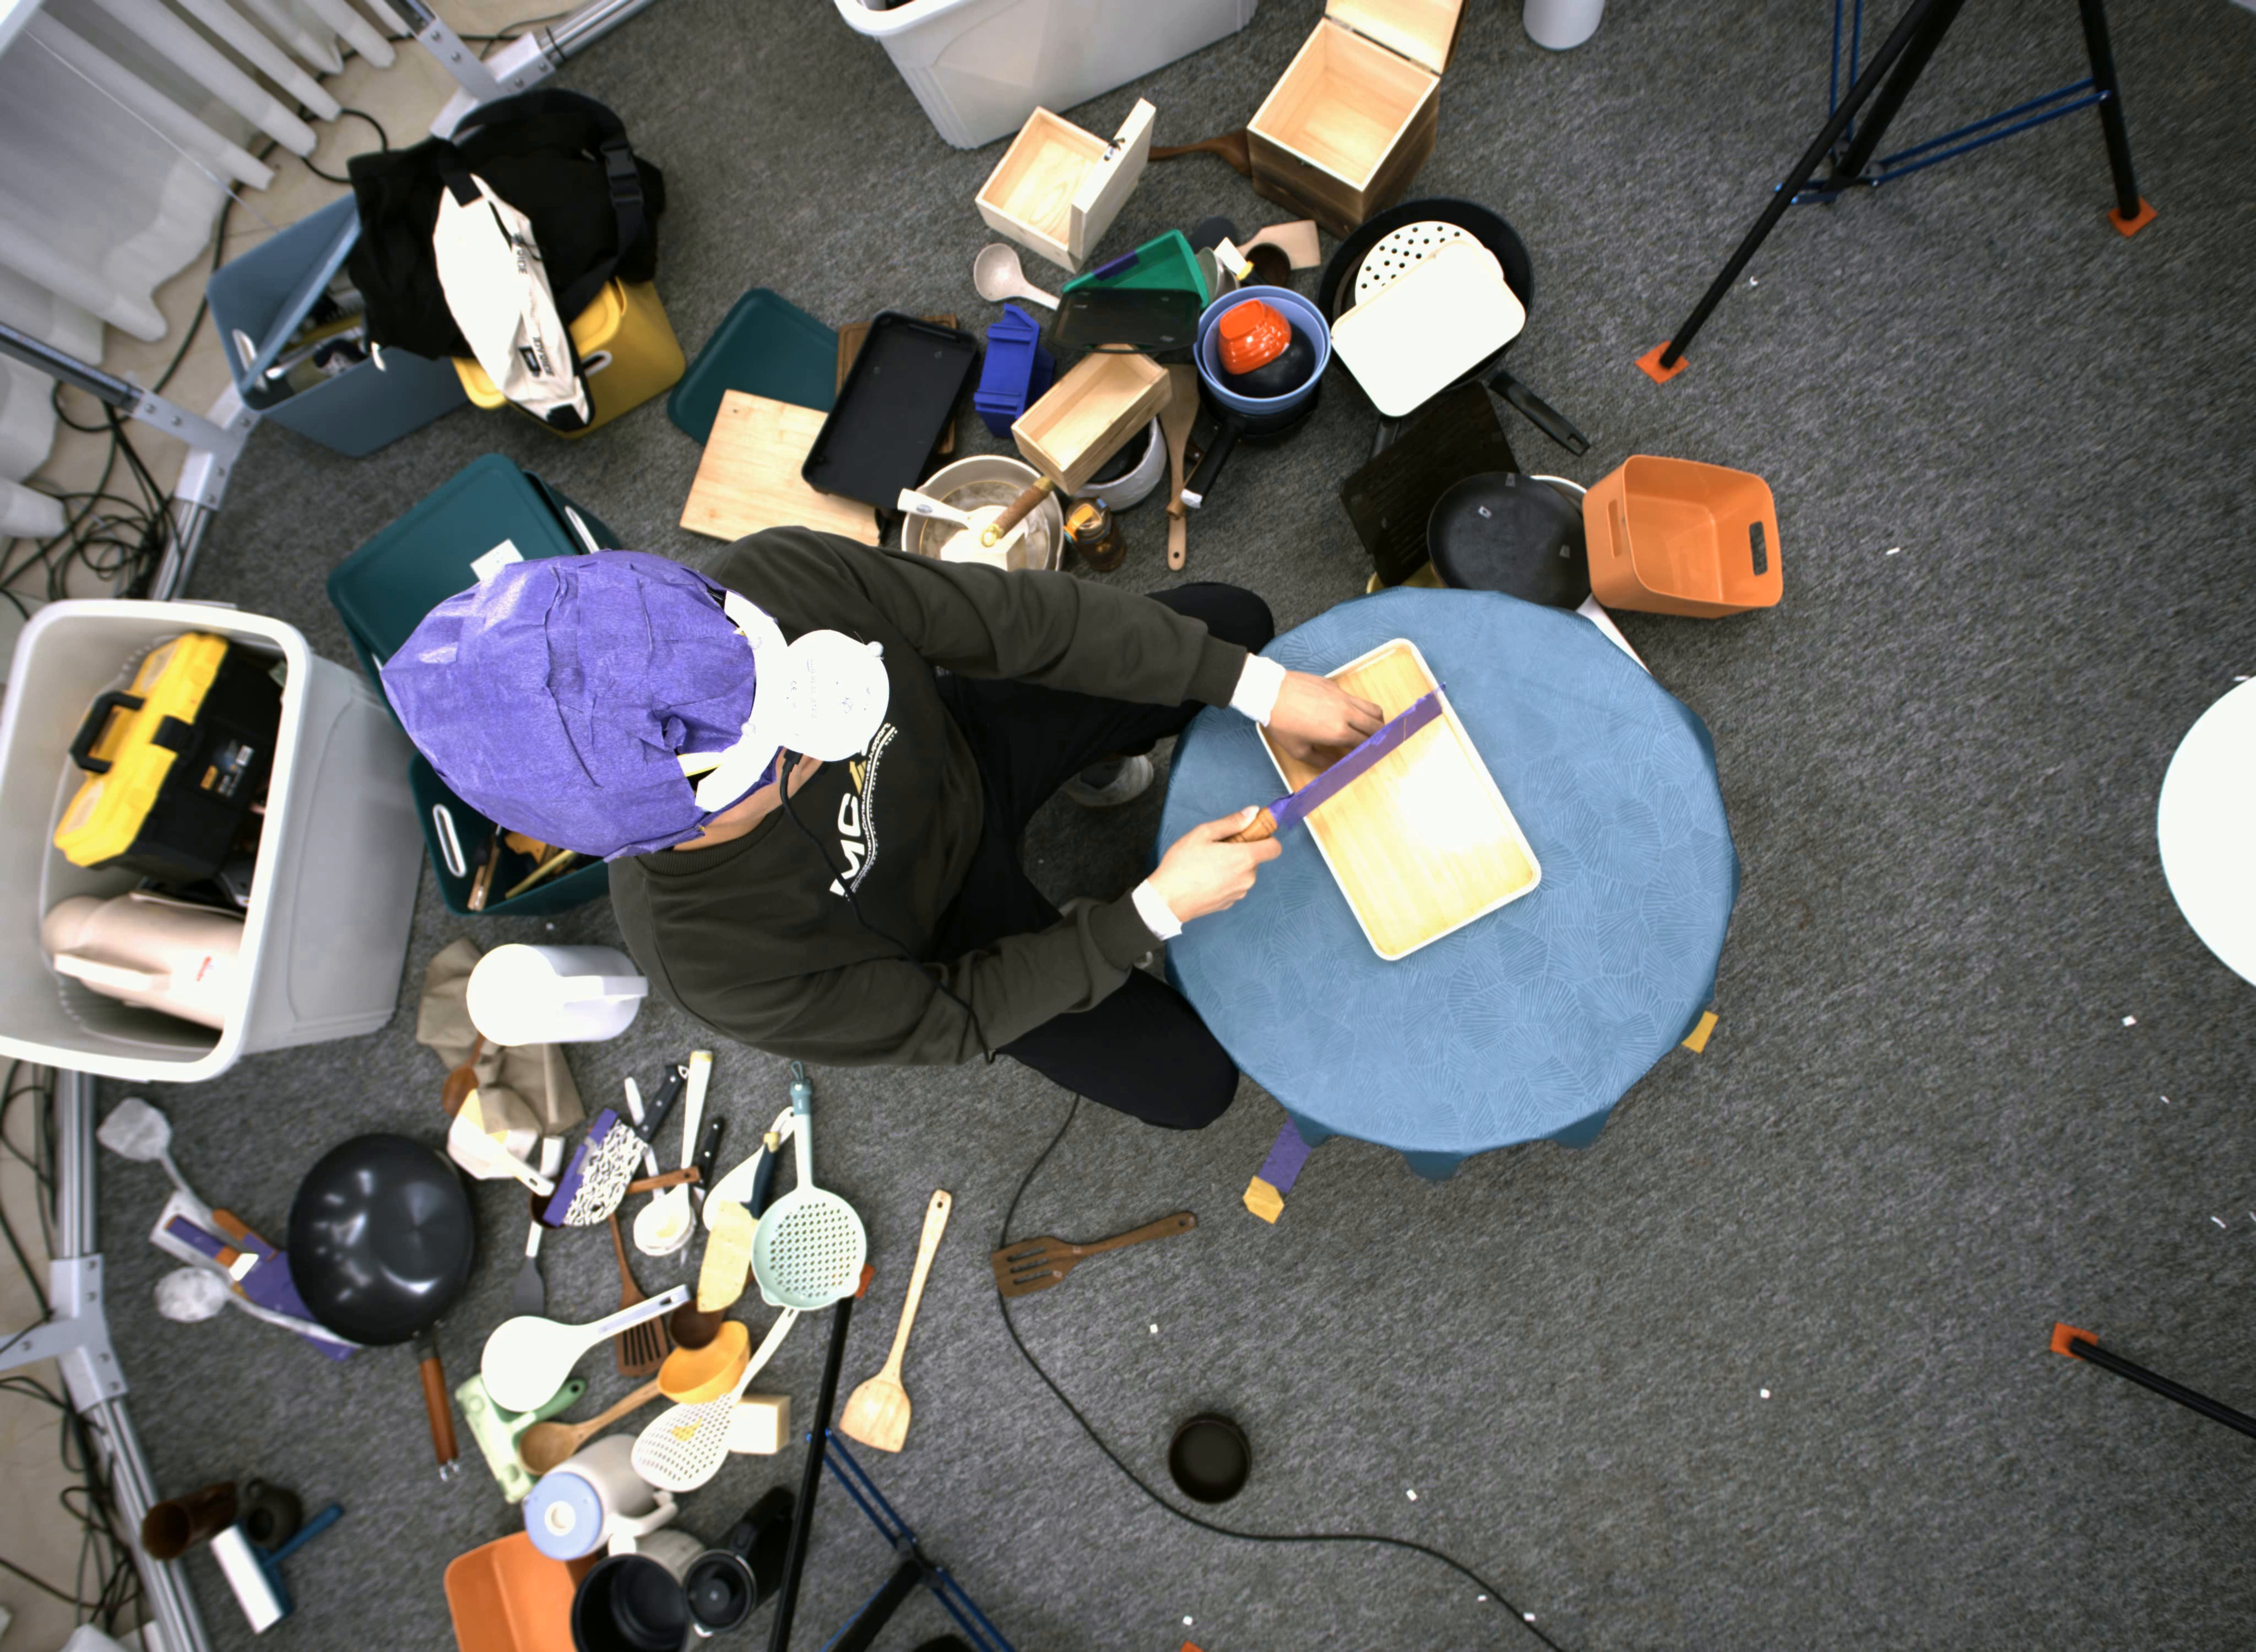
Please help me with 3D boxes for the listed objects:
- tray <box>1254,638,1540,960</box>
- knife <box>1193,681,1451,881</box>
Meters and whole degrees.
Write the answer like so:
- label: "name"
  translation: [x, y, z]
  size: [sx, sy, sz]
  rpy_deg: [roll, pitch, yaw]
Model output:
- label: "tray"
  translation: [0.280, -0.030, 1.450]
  size: [0.192, 0.027, 0.298]
  rpy_deg: [-28, 82, 8]
- label: "knife"
  translation: [0.204, -0.039, 1.409]
  size: [0.315, 0.105, 0.032]
  rpy_deg: [-35, 71, 1]
